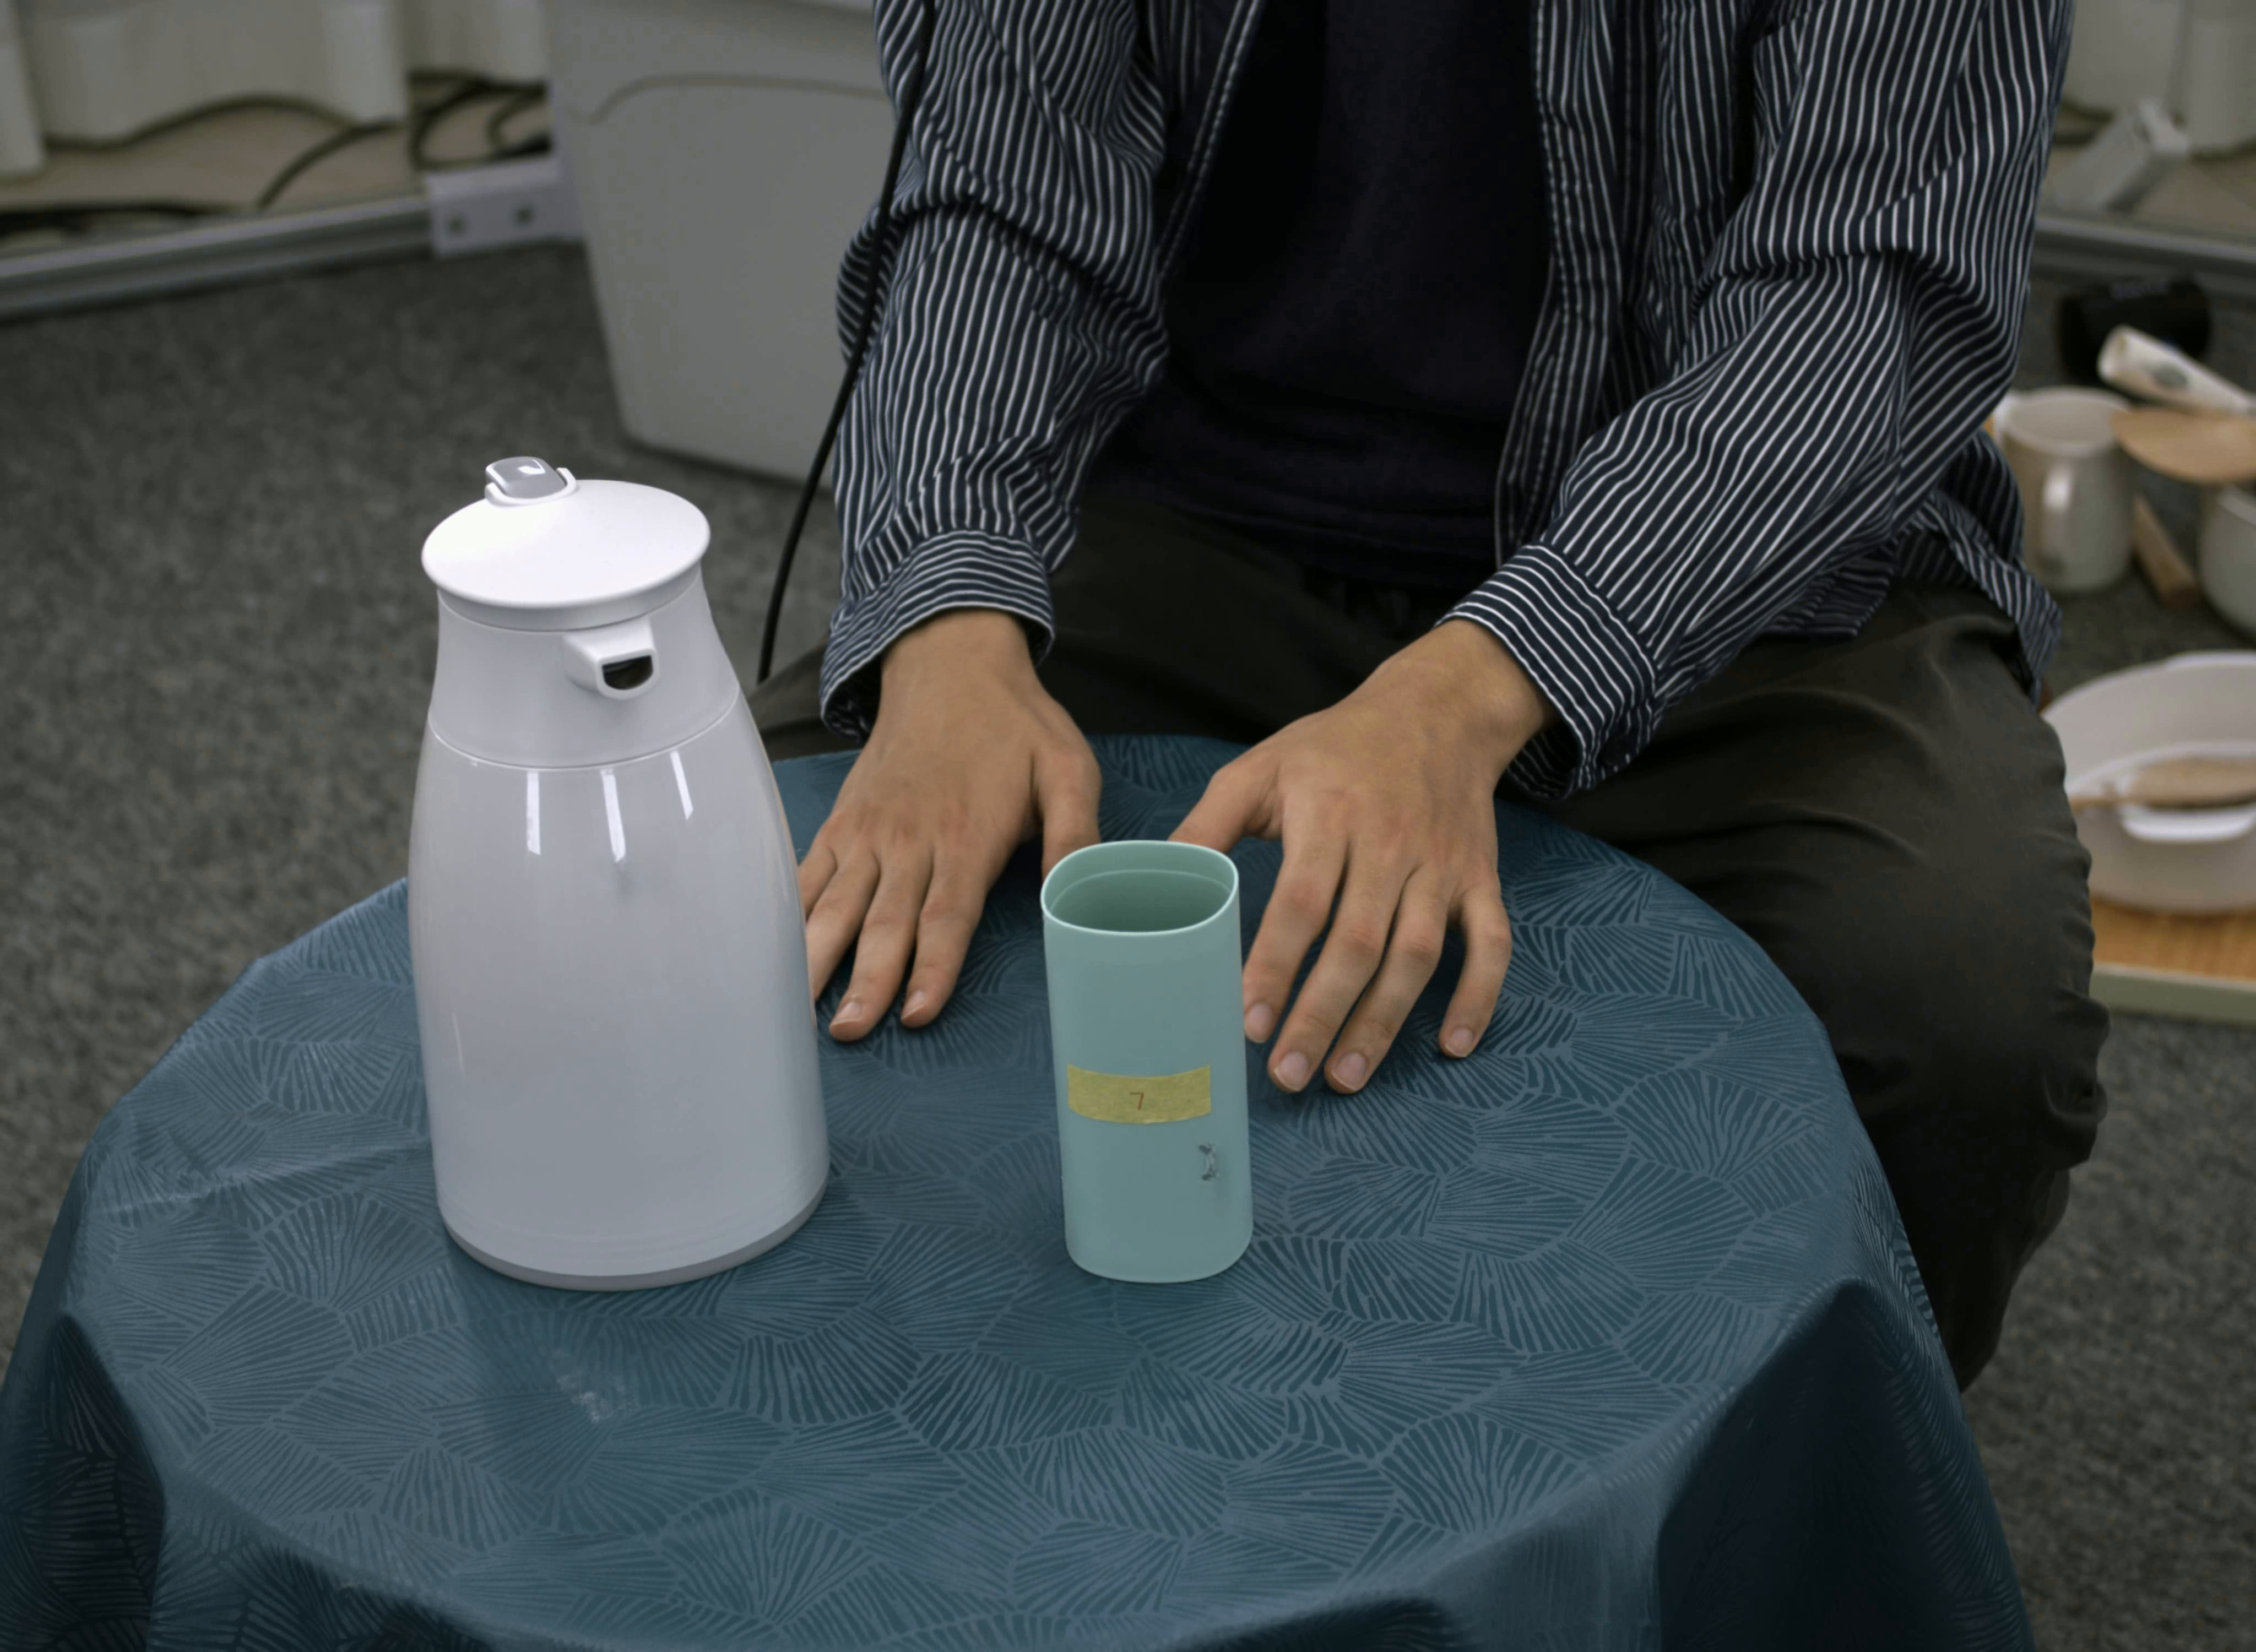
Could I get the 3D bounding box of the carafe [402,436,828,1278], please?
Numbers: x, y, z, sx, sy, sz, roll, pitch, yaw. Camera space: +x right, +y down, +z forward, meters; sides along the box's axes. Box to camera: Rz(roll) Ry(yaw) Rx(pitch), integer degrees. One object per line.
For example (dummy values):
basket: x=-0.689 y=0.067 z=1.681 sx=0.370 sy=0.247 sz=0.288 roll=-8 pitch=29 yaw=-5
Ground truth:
carafe: x=-0.181 y=0.000 z=1.834 sx=0.133 sy=0.246 sz=0.168 roll=-15 pitch=28 yaw=-21

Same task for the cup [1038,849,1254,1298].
cup: x=0.007 y=0.079 z=1.804 sx=0.066 sy=0.131 sz=0.068 roll=-3 pitch=27 yaw=2
